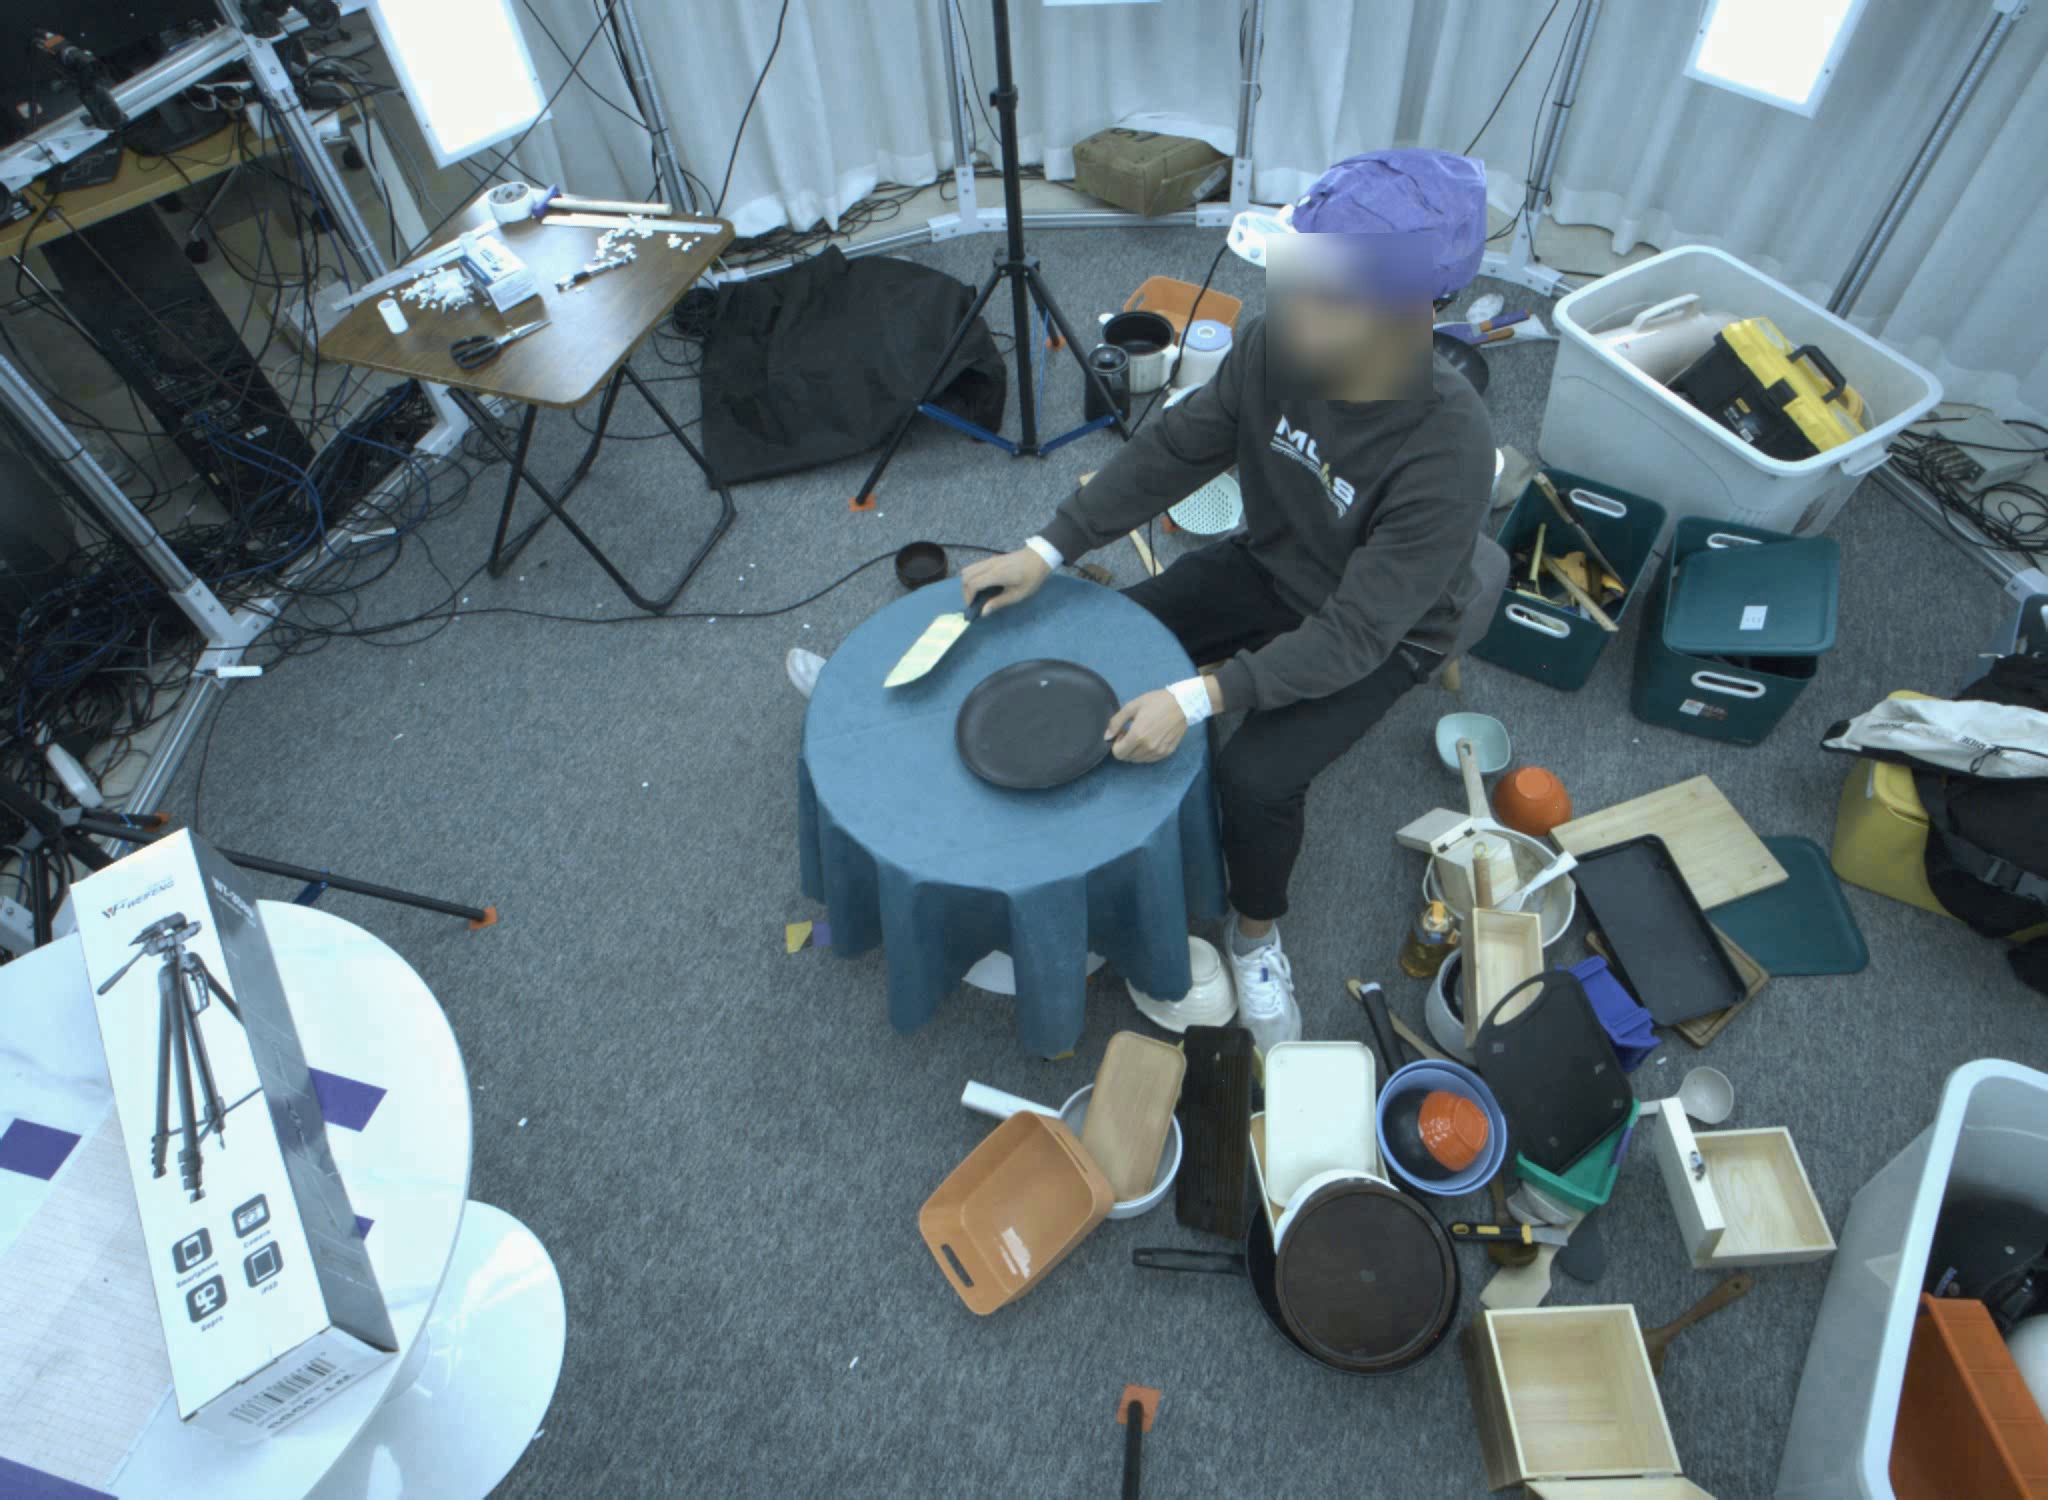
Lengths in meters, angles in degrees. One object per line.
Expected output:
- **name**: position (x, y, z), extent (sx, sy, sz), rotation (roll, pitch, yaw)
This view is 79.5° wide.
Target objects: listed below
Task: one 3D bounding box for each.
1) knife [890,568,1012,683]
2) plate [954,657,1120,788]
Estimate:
- **knife**: position (-0.113, -0.194, 1.898), extent (0.079, 0.028, 0.291), rotation (15, 50, 37)
- **plate**: position (0.019, -0.038, 1.797), extent (0.243, 0.024, 0.242), rotation (-4, 53, 6)
